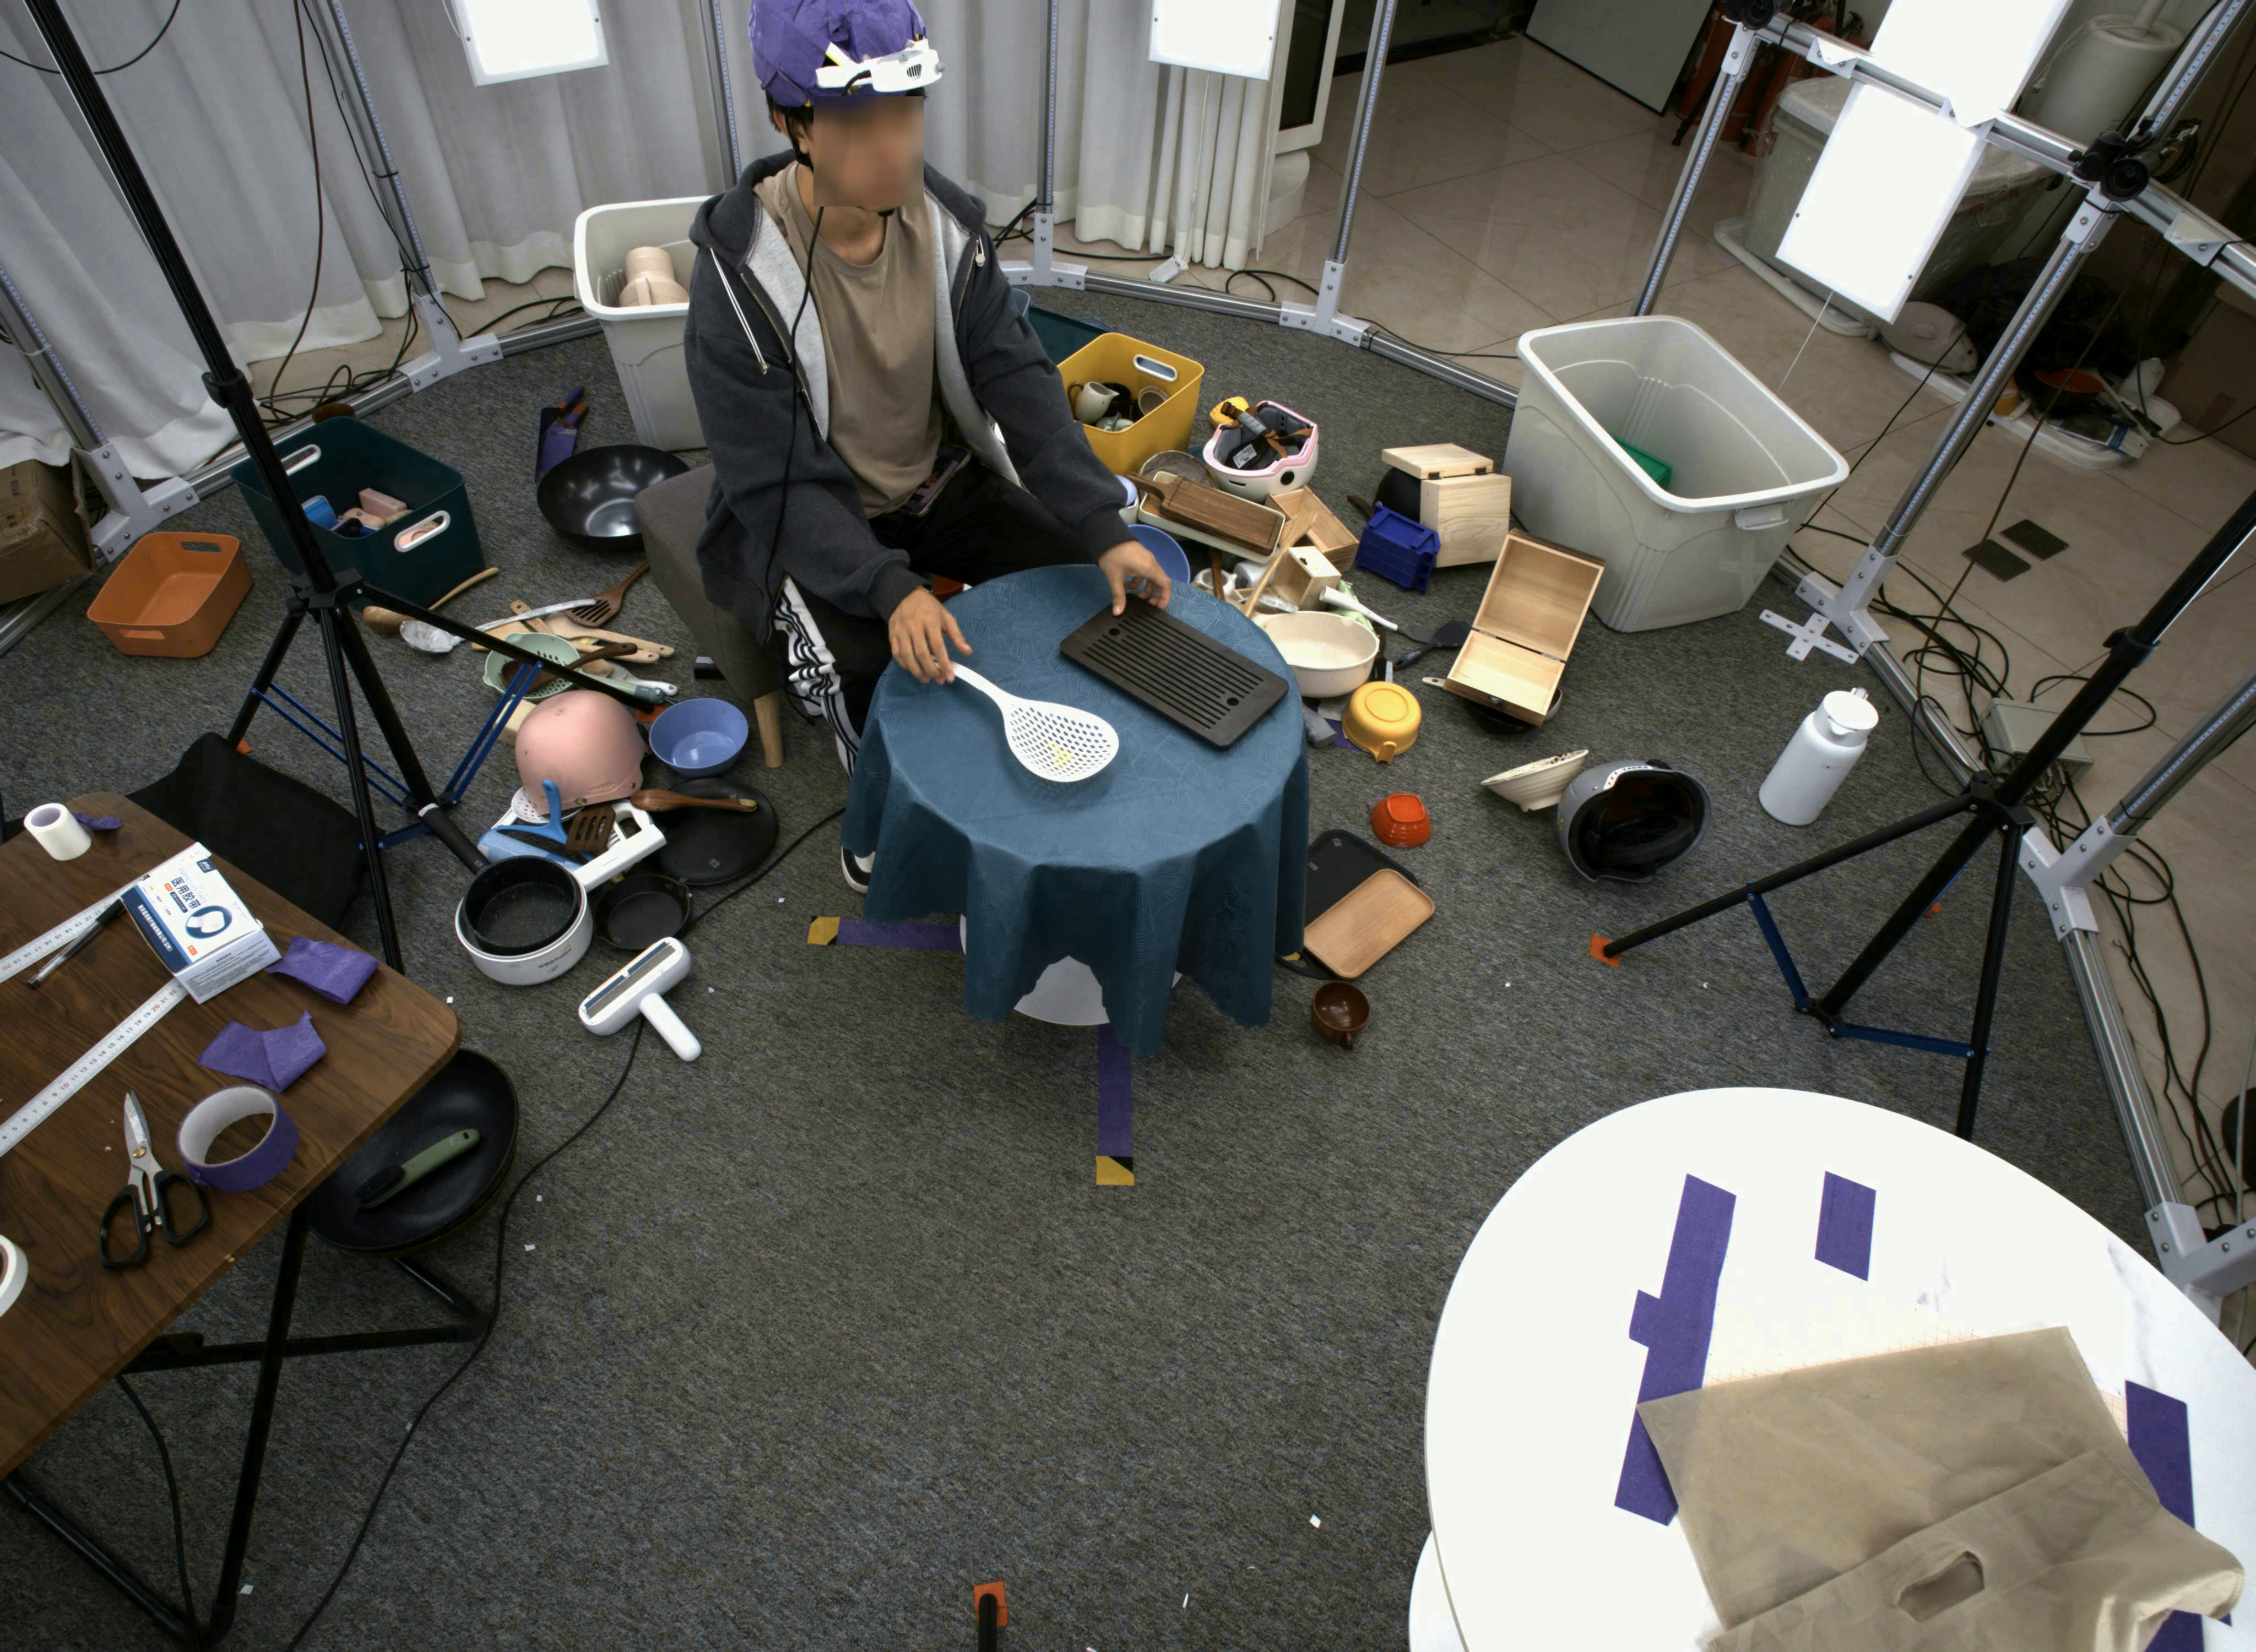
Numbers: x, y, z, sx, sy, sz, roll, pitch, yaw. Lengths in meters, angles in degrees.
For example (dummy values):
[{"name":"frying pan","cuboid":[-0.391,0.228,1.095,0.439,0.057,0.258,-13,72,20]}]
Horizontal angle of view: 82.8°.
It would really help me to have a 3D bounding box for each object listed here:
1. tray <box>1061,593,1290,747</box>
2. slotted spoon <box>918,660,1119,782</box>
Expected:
[{"name":"tray","cuboid":[0.067,-0.229,1.859,0.310,0.018,0.172,33,55,23]},{"name":"slotted spoon","cuboid":[-0.164,-0.160,1.767,0.353,0.049,0.138,36,58,25]}]
